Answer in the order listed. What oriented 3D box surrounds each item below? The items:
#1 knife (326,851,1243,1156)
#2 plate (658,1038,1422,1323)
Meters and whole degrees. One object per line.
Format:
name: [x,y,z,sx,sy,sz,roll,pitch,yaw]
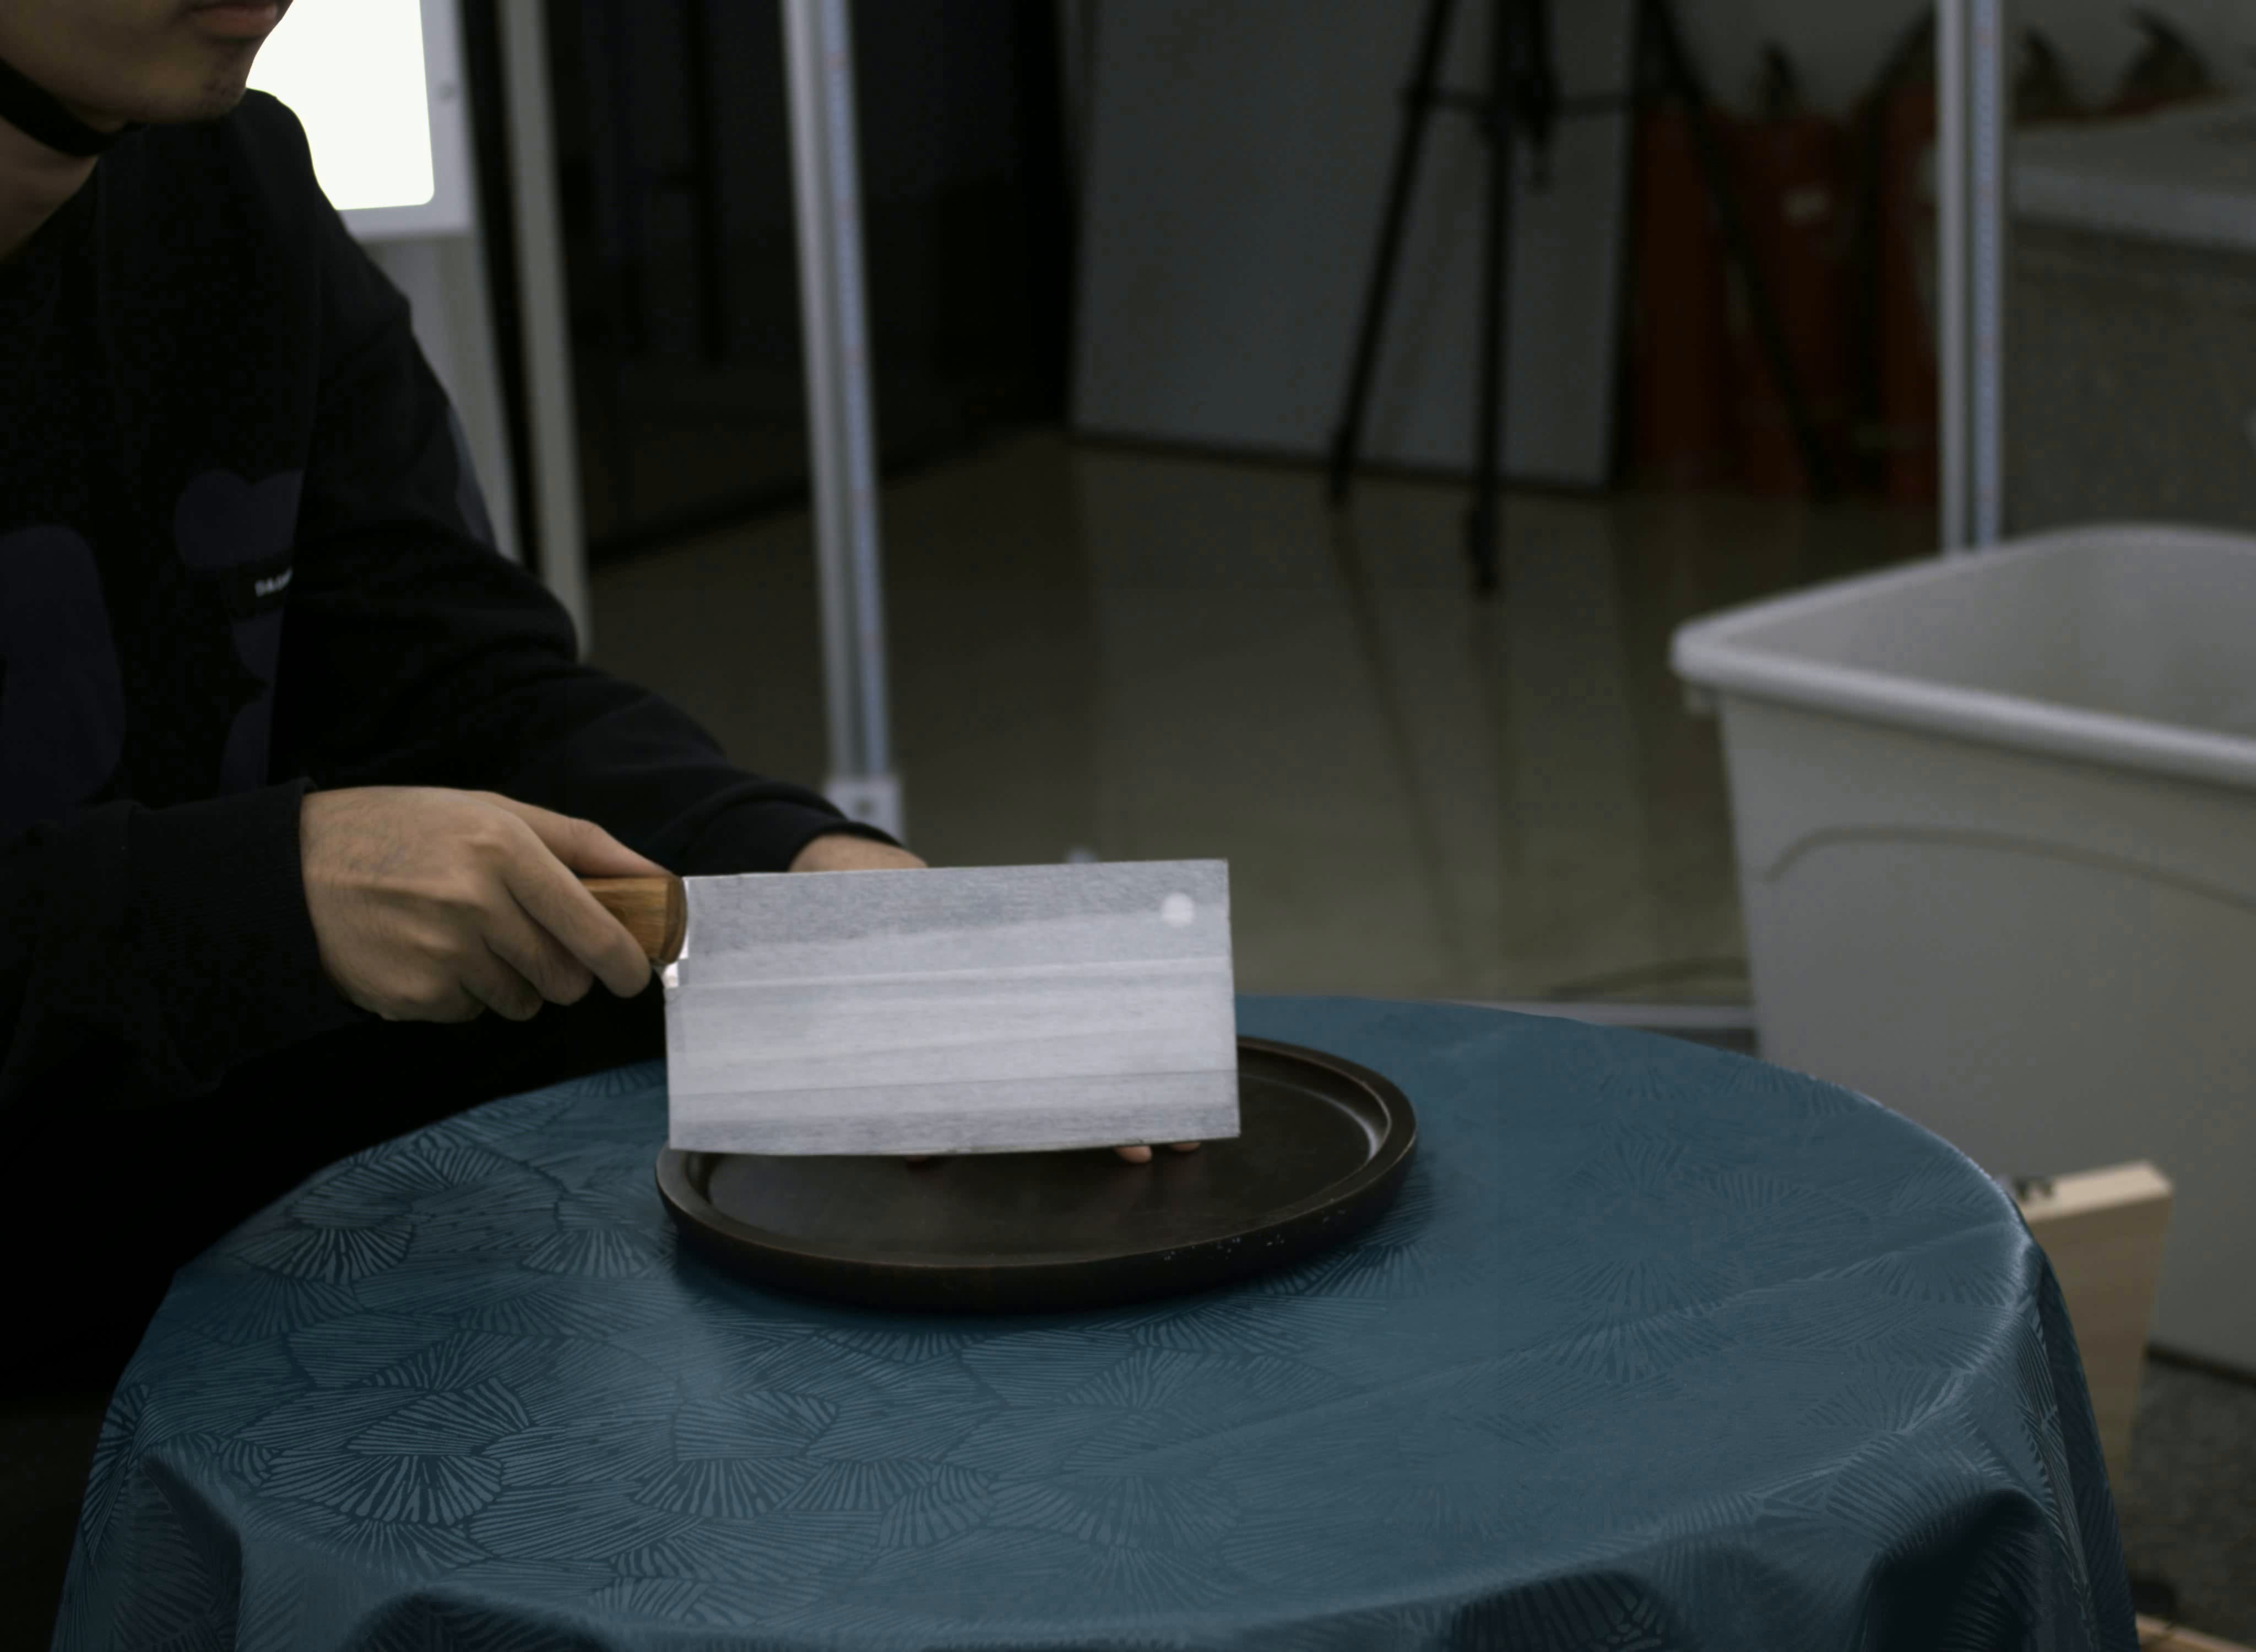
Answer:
knife: [-0.112,0.058,1.728,0.304,0.094,0.021,-2,4,15]
plate: [-0.028,0.112,1.763,0.251,0.029,0.255,-4,16,0]
